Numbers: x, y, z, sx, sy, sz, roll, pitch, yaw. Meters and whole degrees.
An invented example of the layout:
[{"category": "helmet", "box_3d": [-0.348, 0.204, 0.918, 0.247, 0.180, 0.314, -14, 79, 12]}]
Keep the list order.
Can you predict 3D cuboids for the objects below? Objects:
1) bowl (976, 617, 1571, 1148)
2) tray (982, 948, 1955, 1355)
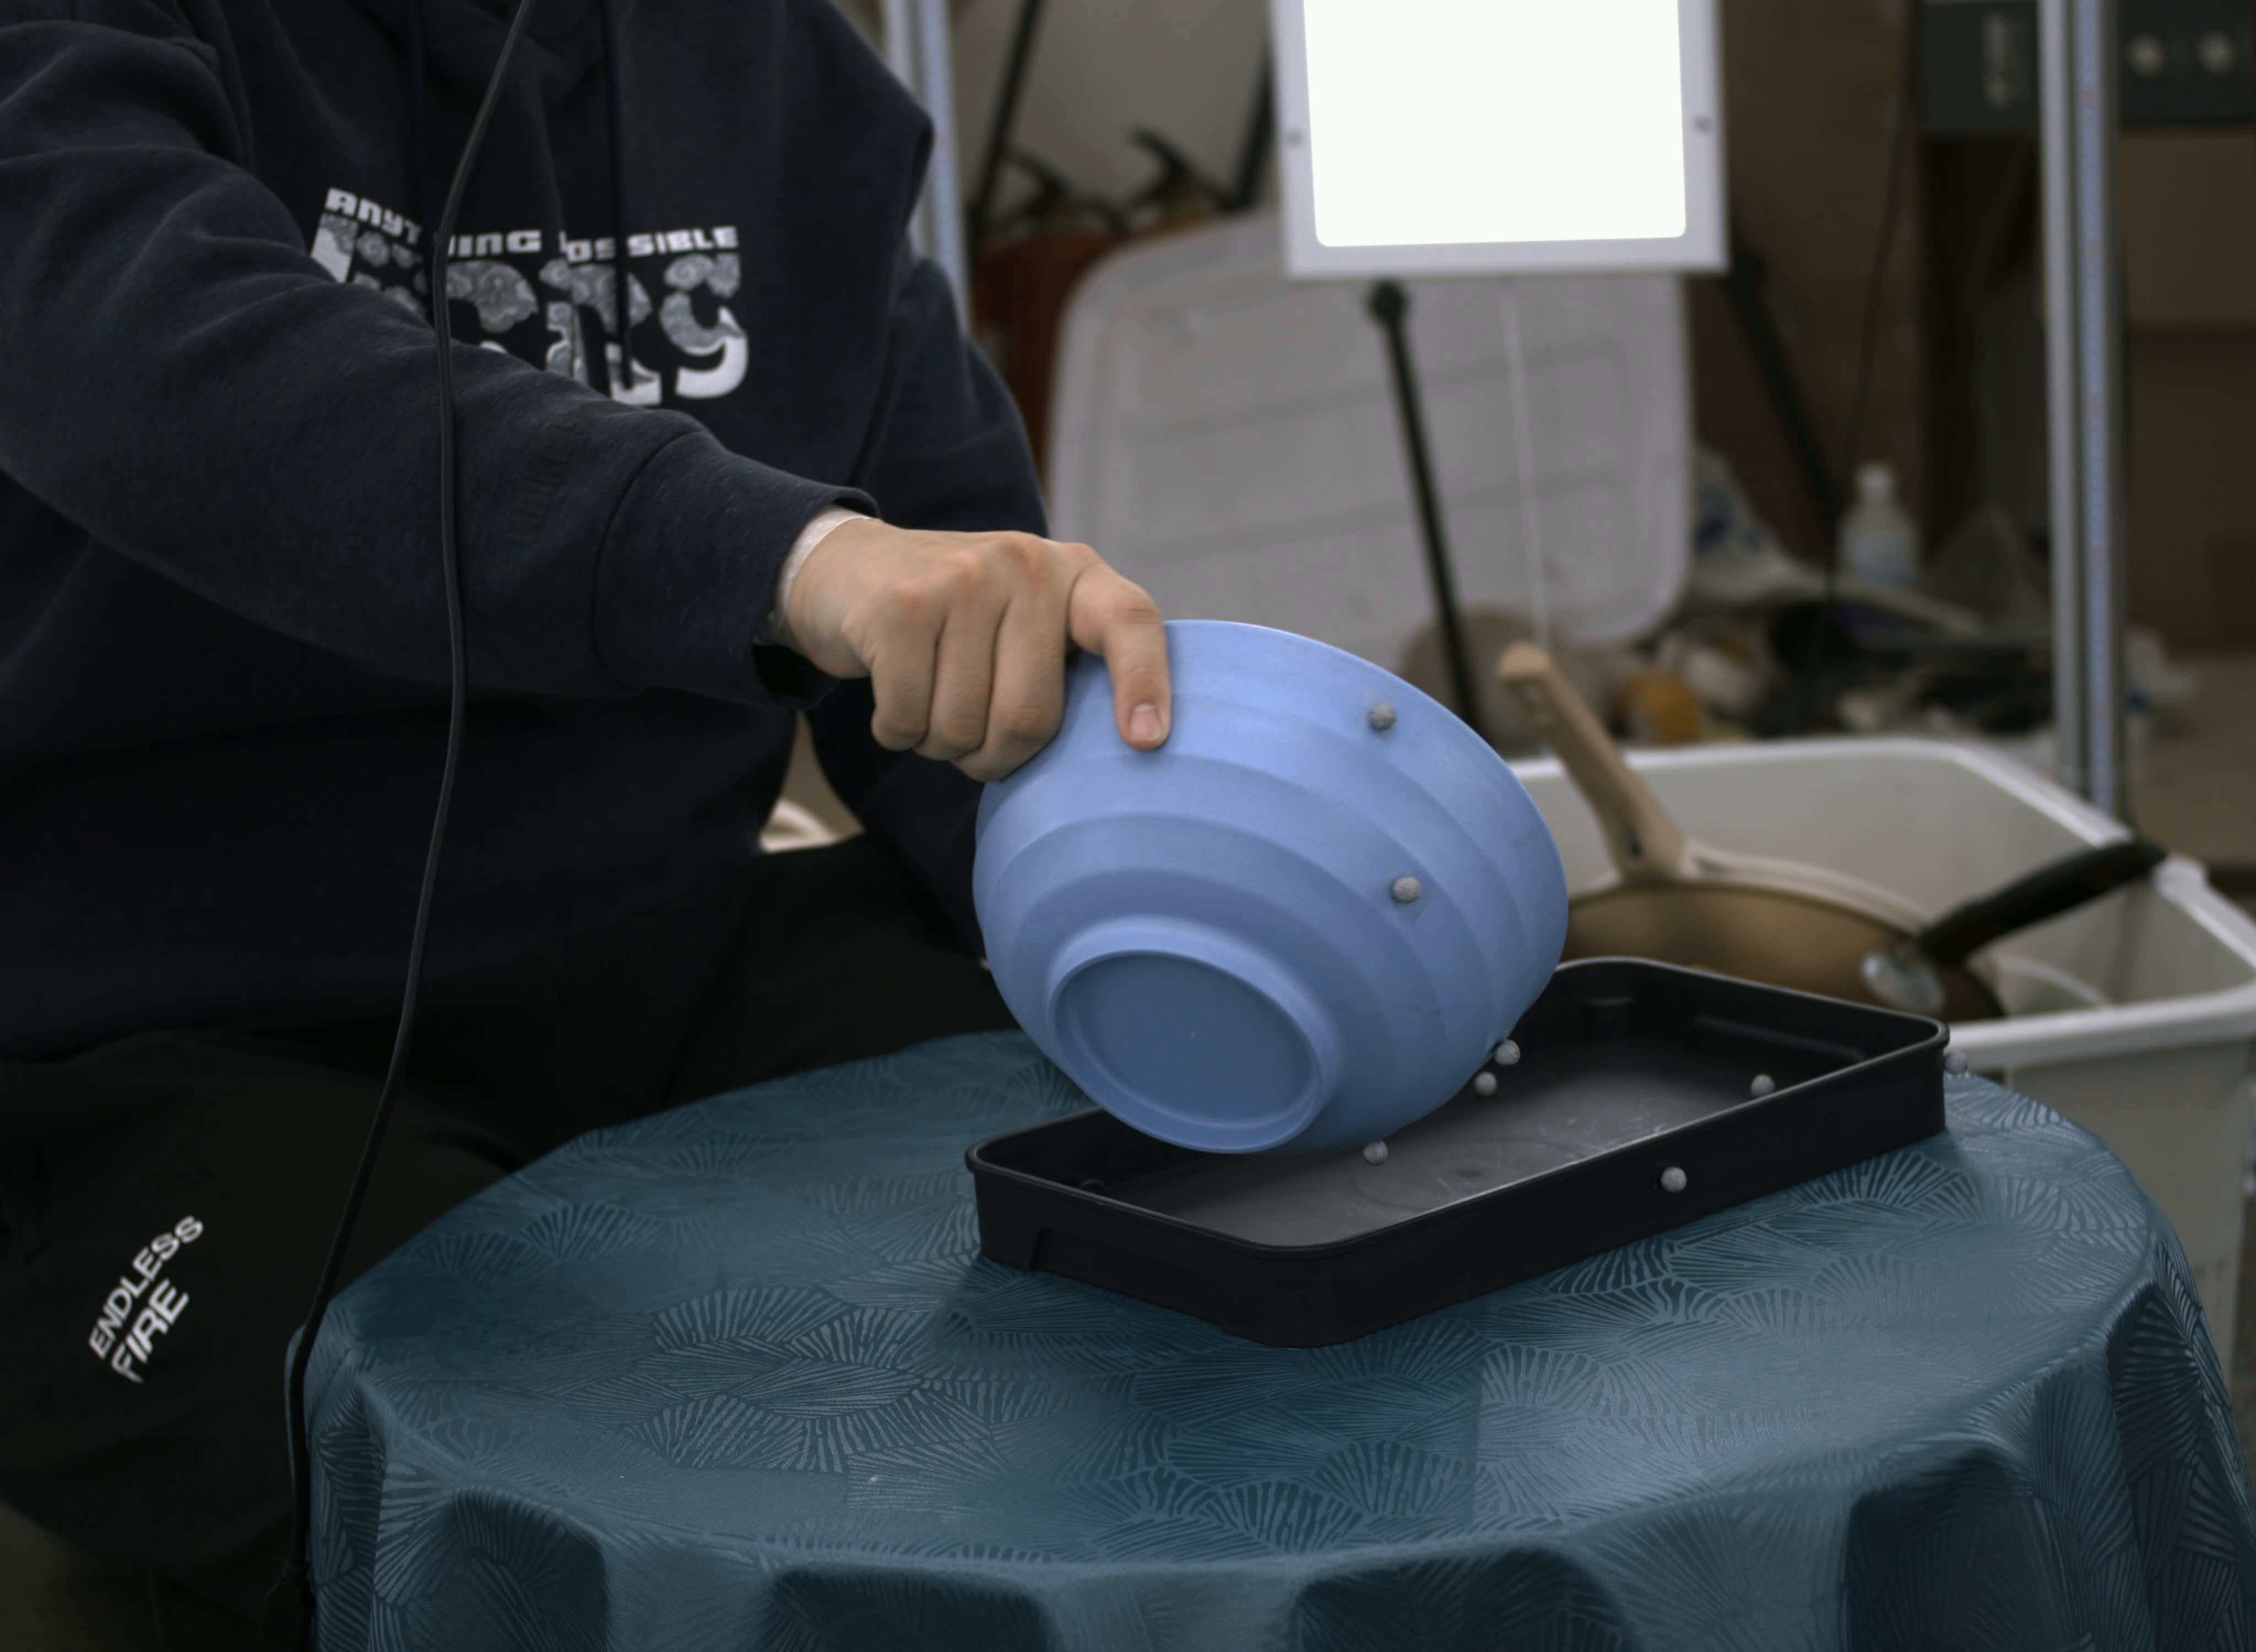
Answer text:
[{"category": "bowl", "box_3d": [0.033, 0.036, 1.735, 0.200, 0.195, 0.094, 3, 47, 28]}, {"category": "tray", "box_3d": [0.121, 0.105, 1.873, 0.310, 0.037, 0.188, -17, 17, -37]}]
